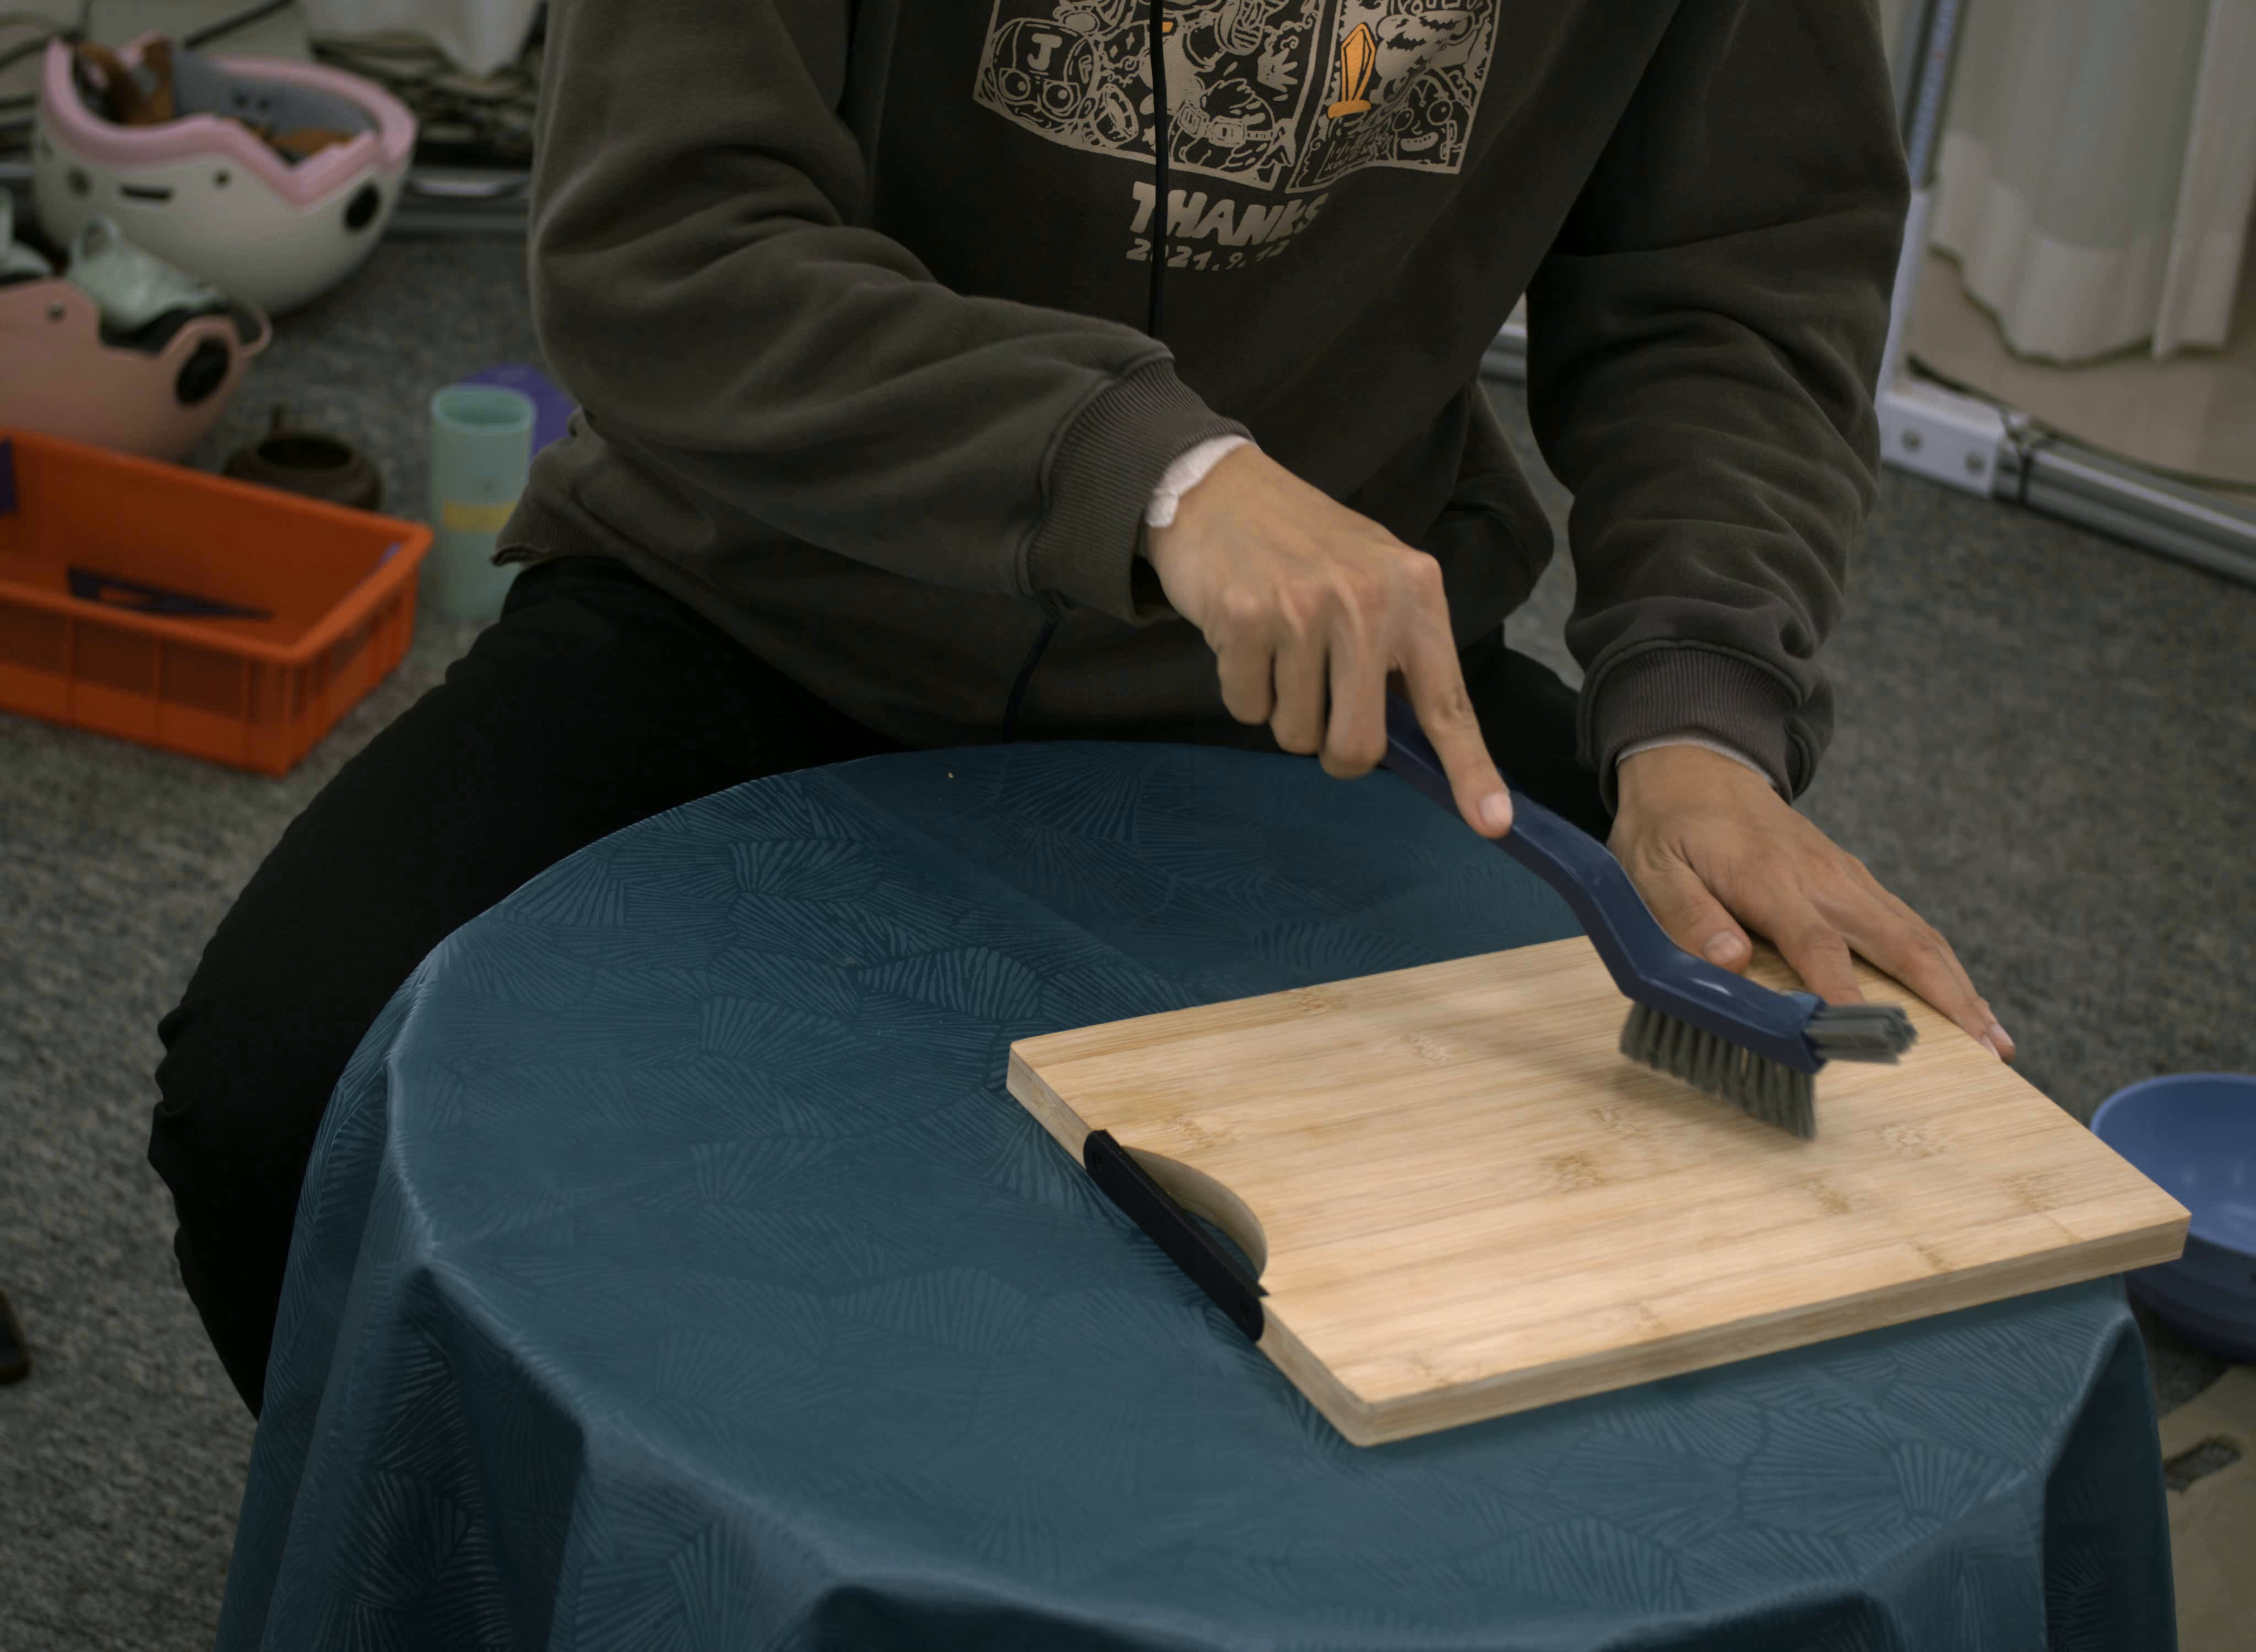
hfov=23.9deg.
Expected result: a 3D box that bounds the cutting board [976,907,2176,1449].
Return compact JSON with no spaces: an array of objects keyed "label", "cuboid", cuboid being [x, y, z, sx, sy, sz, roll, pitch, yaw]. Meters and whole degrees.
[{"label":"cutting board","cuboid":[0.156,0.114,1.840,0.346,0.023,0.253,-9,30,-29]}]

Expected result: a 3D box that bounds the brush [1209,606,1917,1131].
[{"label":"brush","cuboid":[0.148,0.004,1.849,0.274,0.095,0.033,42,46,7]}]
